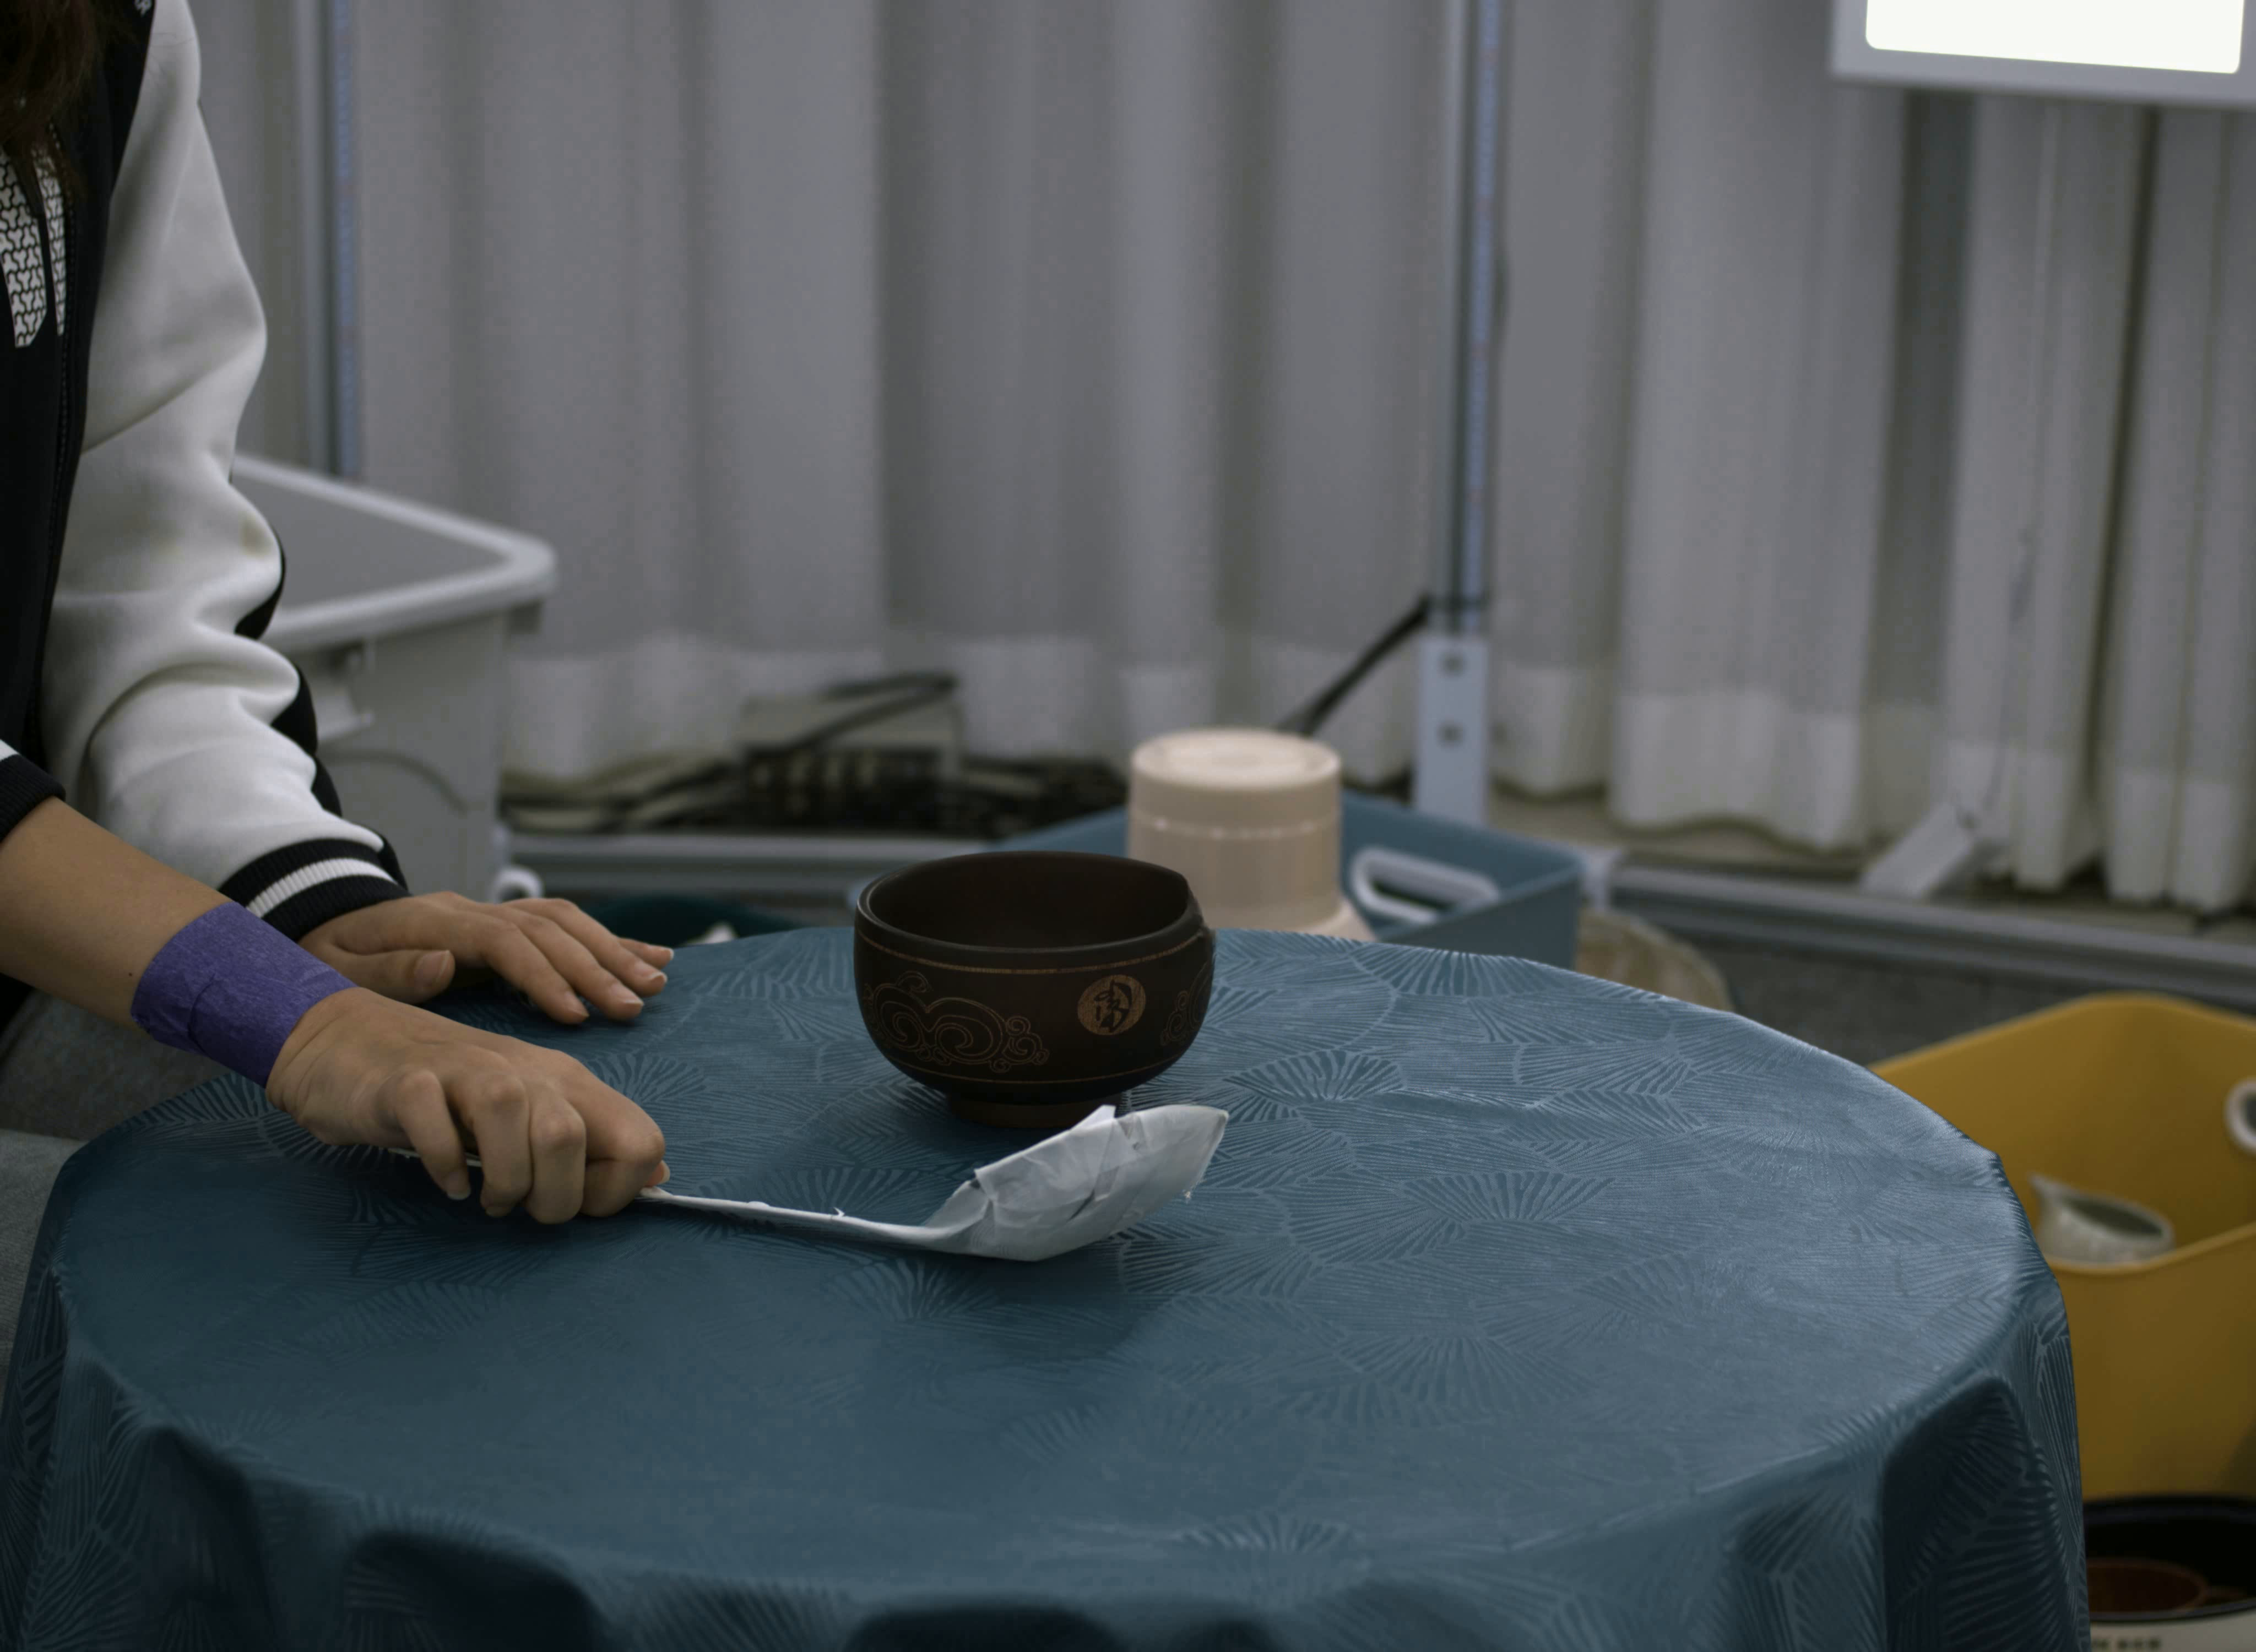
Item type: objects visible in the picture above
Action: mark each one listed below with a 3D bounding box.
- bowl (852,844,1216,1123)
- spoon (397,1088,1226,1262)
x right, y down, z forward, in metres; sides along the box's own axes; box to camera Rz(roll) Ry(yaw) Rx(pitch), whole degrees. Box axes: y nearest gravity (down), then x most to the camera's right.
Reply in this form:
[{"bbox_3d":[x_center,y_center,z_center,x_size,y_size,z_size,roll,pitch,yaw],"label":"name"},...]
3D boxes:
[{"bbox_3d":[-0.030,0.054,1.693,0.117,0.070,0.117,1,16,0],"label":"bowl"},{"bbox_3d":[-0.100,0.092,1.593,0.274,0.059,0.102,7,-9,28],"label":"spoon"}]
